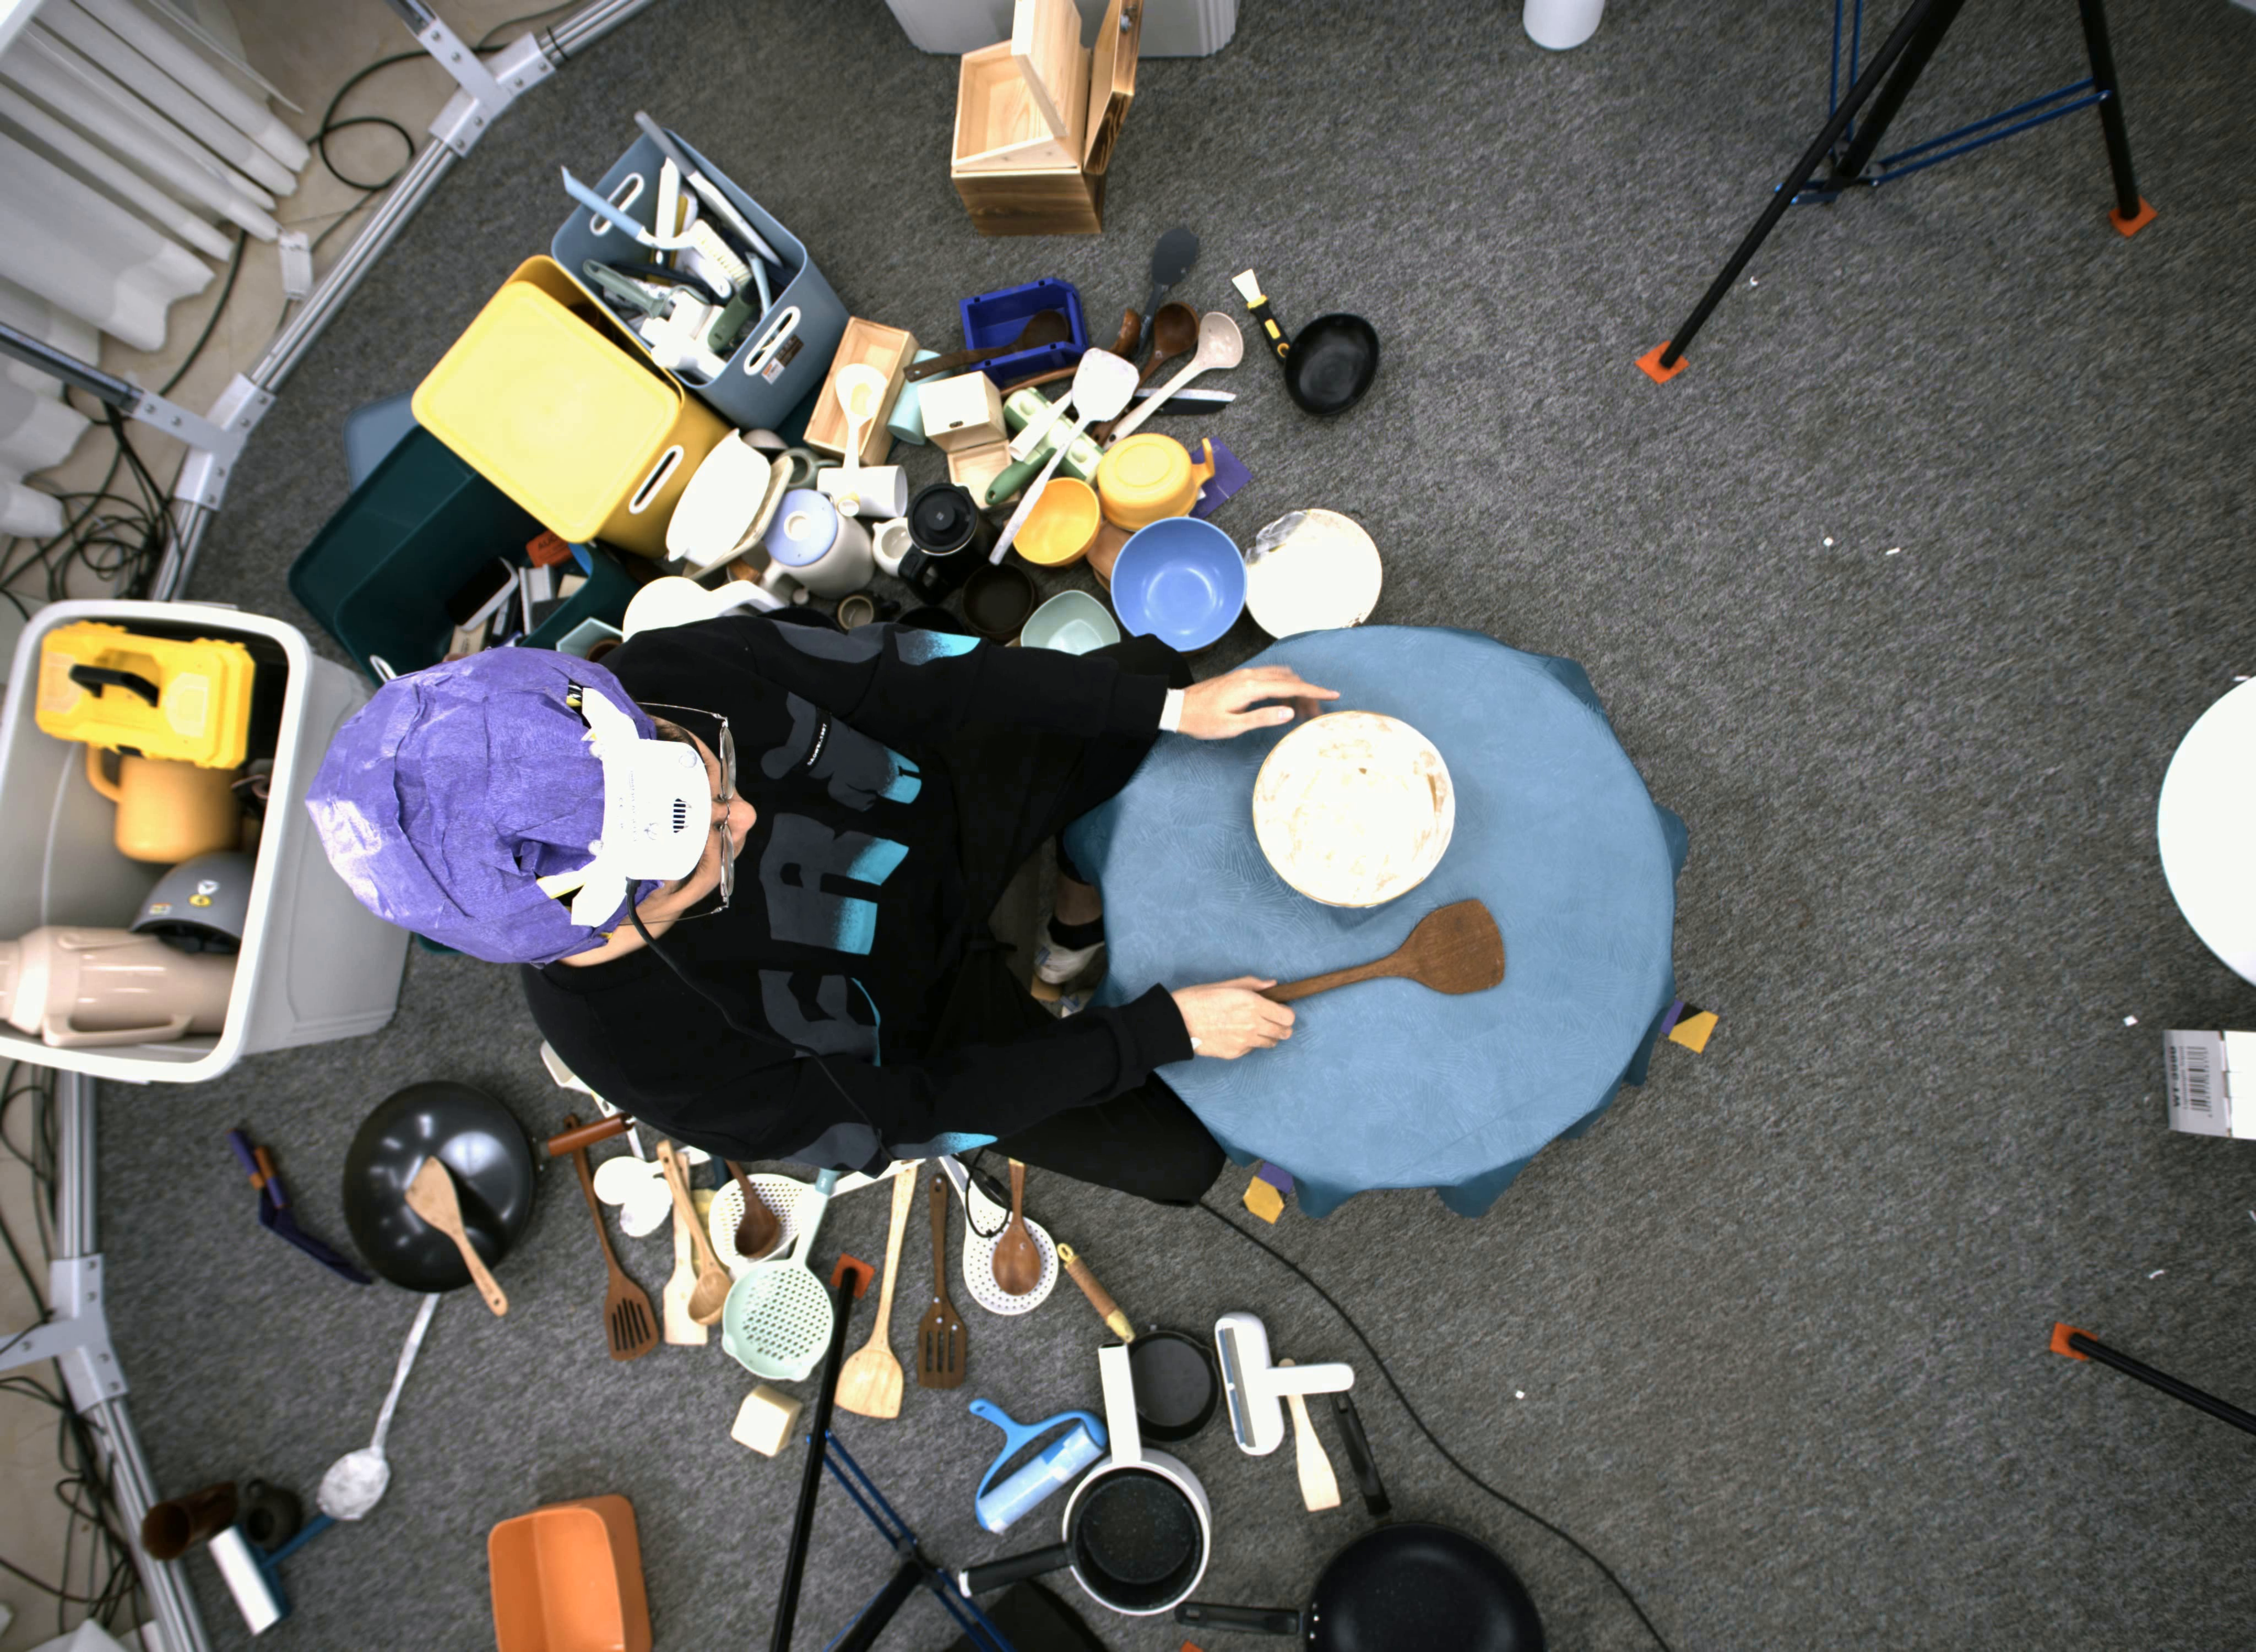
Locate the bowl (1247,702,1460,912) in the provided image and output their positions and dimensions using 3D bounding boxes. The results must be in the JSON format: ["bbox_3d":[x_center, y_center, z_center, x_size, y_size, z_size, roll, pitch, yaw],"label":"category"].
[{"bbox_3d":[0.233,-0.014,1.430,0.215,0.094,0.214,-1,87,11],"label":"bowl"}]

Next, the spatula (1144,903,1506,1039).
[{"bbox_3d":[0.204,0.167,1.457,0.387,0.016,0.095,-15,83,6],"label":"spatula"}]
